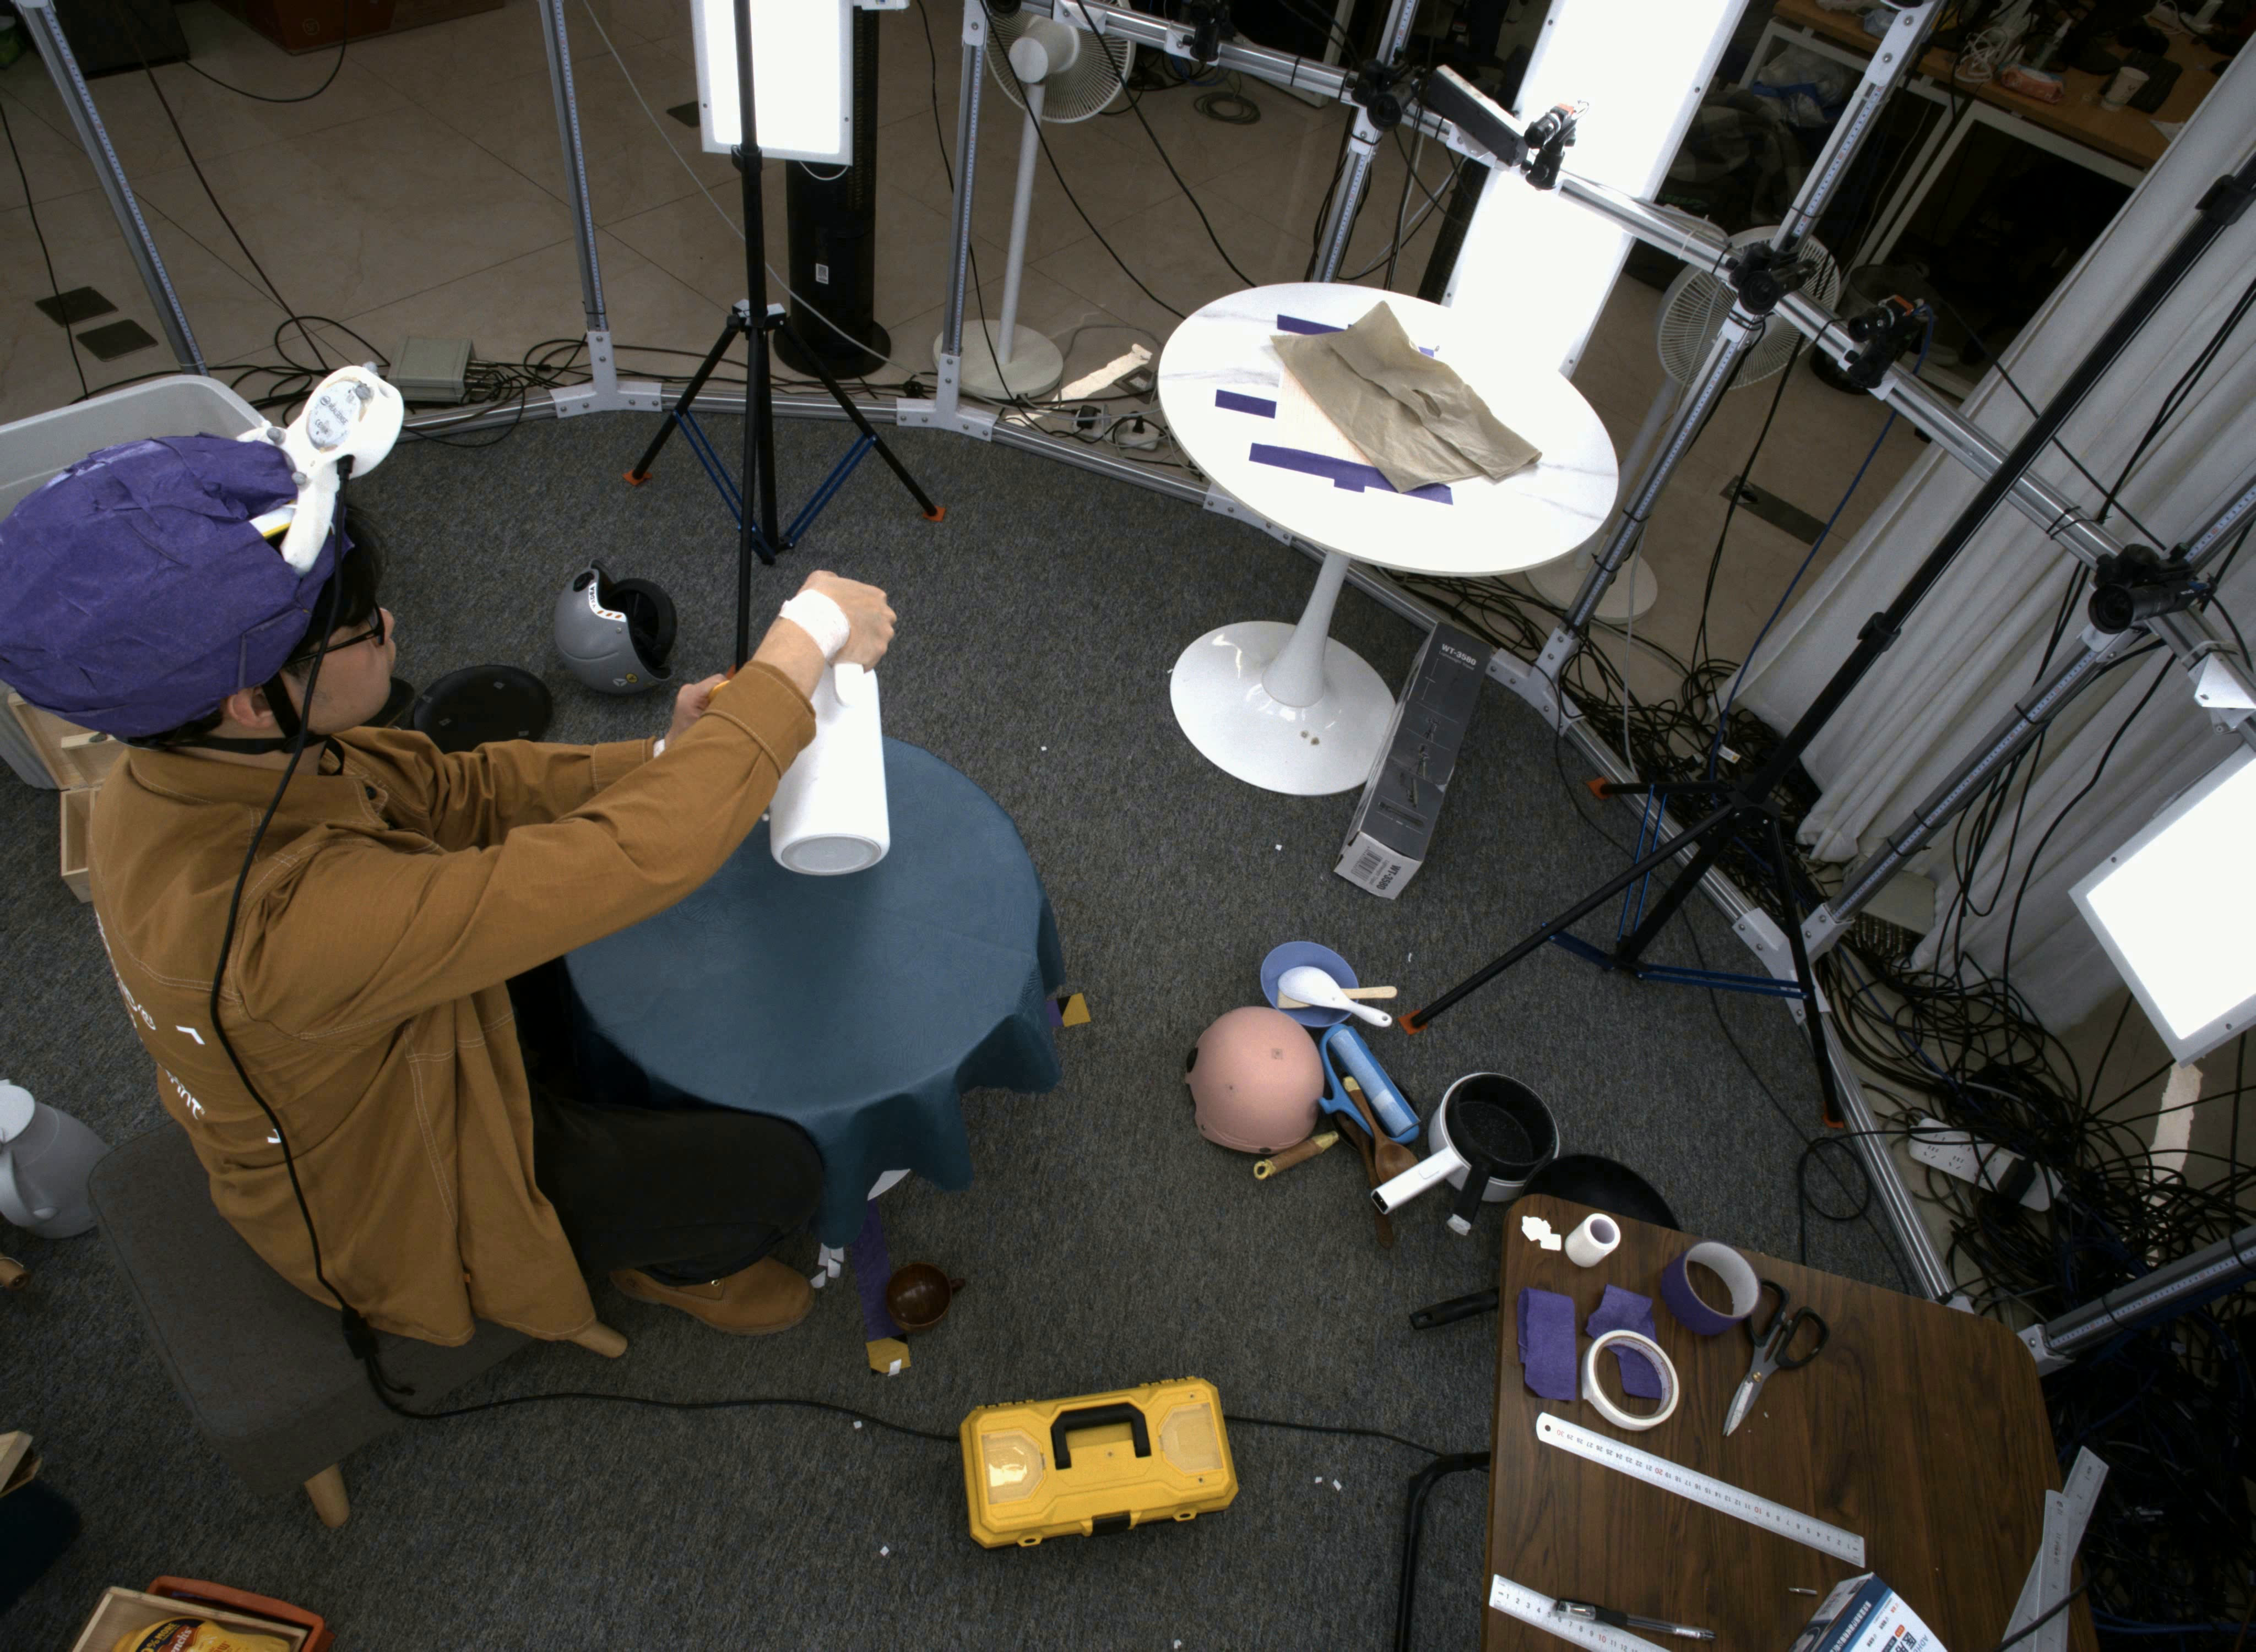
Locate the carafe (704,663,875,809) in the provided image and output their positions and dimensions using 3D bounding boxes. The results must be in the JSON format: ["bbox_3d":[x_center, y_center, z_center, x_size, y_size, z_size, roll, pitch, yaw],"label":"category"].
[{"bbox_3d":[-0.408,-0.122,1.569,0.203,0.263,0.161,-1,64,-16],"label":"carafe"}]

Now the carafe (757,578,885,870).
[{"bbox_3d":[-0.307,-0.106,1.307,0.126,0.172,0.266,6,64,-29],"label":"carafe"}]
